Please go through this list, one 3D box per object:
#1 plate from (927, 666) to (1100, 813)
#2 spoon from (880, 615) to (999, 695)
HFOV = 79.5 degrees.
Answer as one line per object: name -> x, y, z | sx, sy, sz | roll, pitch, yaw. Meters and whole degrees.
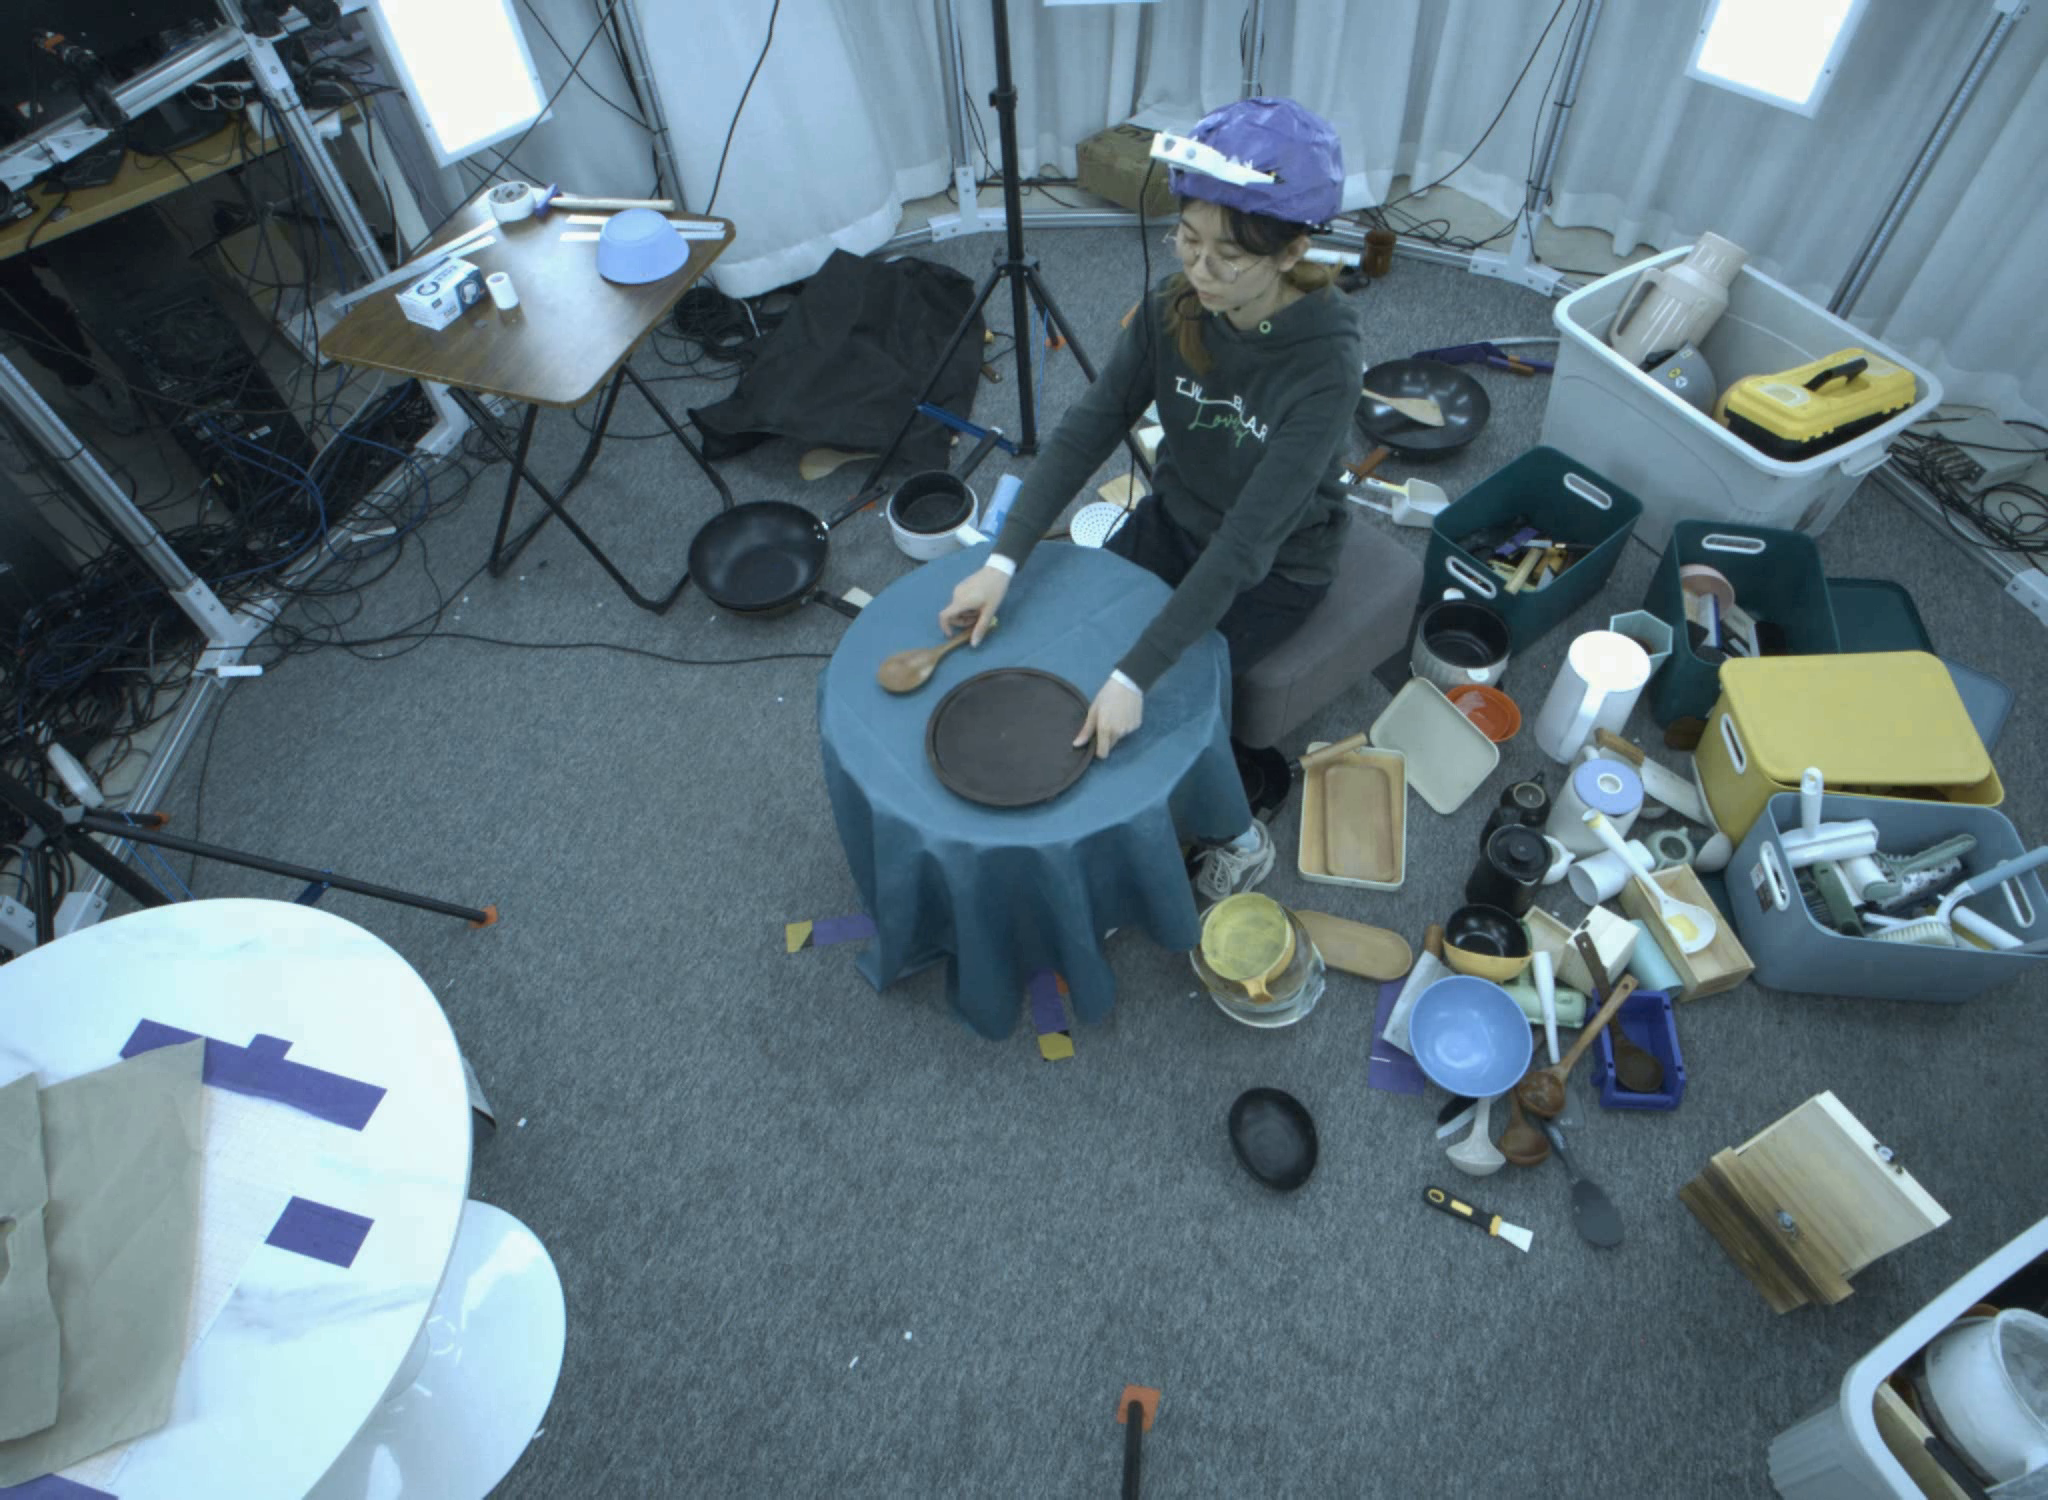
plate -> -0.015, -0.014, 1.795 | 0.254, 0.029, 0.252 | 0, 56, 2
spoon -> -0.127, -0.148, 1.895 | 0.217, 0.017, 0.074 | -34, 61, -20
